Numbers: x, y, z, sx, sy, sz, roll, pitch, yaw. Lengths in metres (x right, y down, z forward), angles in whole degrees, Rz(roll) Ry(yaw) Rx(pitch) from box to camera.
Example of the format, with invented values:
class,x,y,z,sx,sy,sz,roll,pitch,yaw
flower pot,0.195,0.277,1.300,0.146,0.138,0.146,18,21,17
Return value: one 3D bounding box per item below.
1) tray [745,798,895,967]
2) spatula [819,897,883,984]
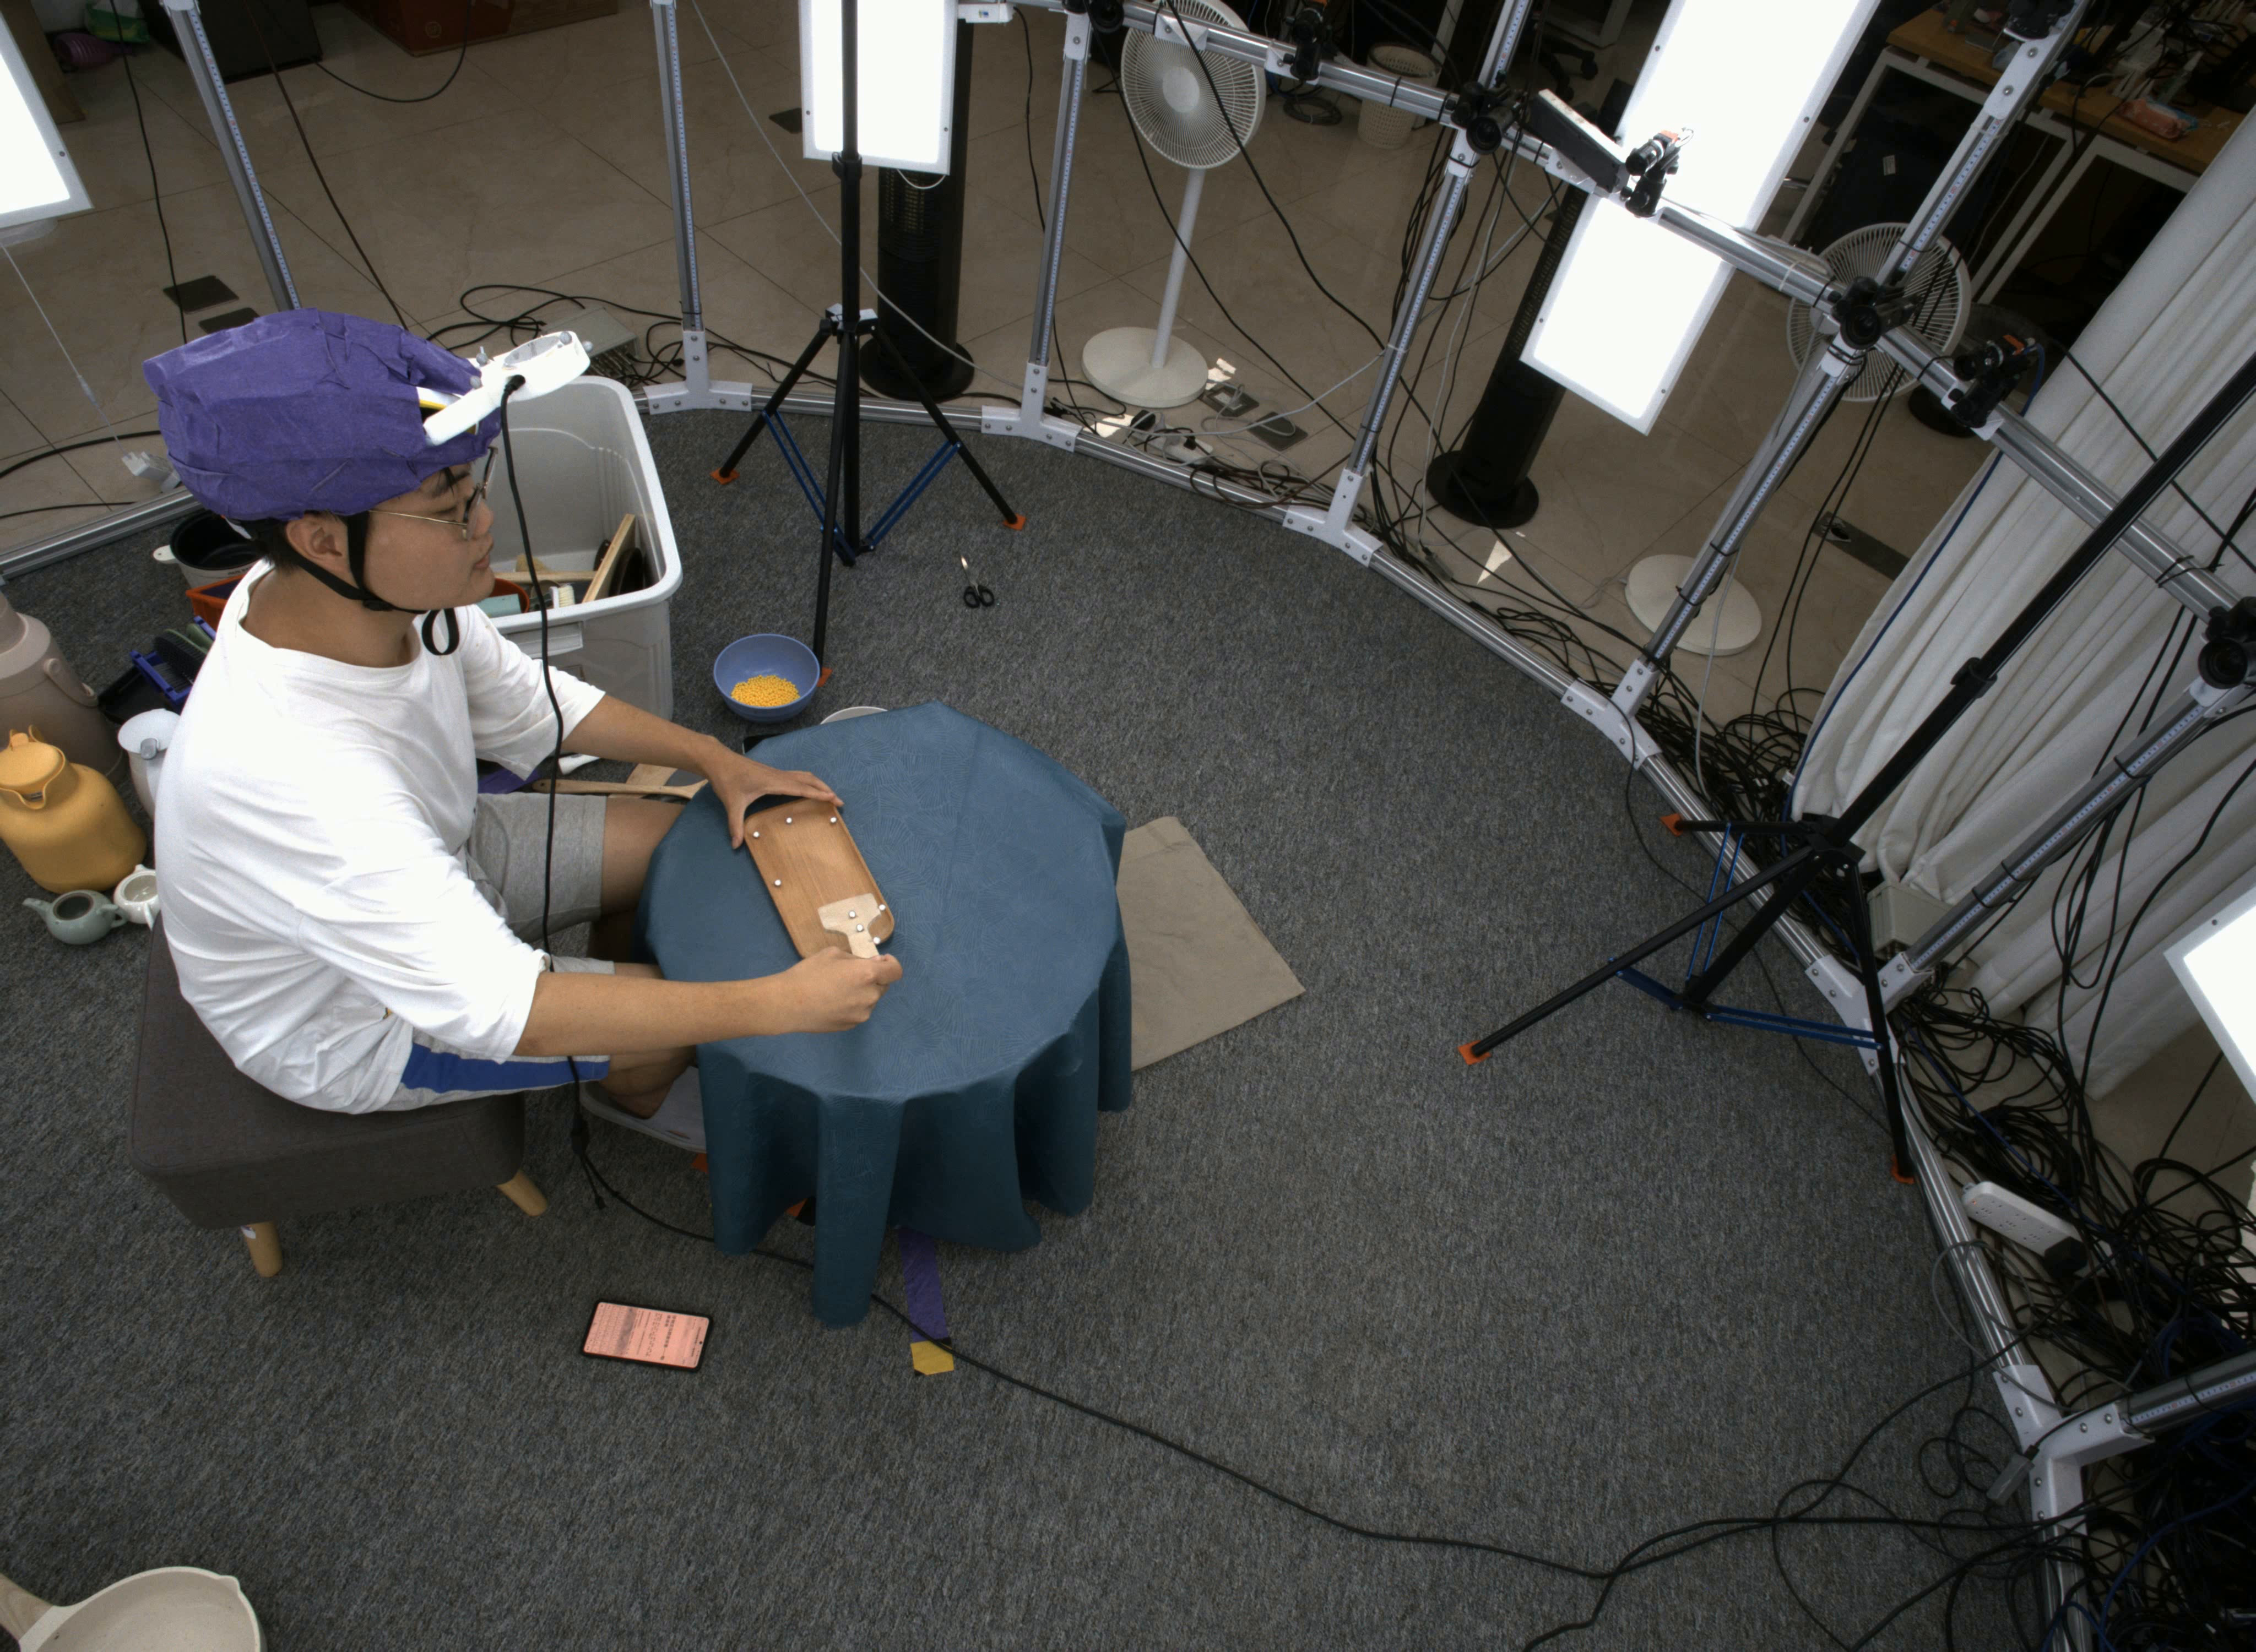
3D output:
class,x,y,z,sx,sy,sz,roll,pitch,yaw
tray,-0.400,0.068,1.680,0.131,0.023,0.244,-20,61,-22
spatula,-0.306,0.127,1.472,0.072,0.011,0.285,-16,16,-14
